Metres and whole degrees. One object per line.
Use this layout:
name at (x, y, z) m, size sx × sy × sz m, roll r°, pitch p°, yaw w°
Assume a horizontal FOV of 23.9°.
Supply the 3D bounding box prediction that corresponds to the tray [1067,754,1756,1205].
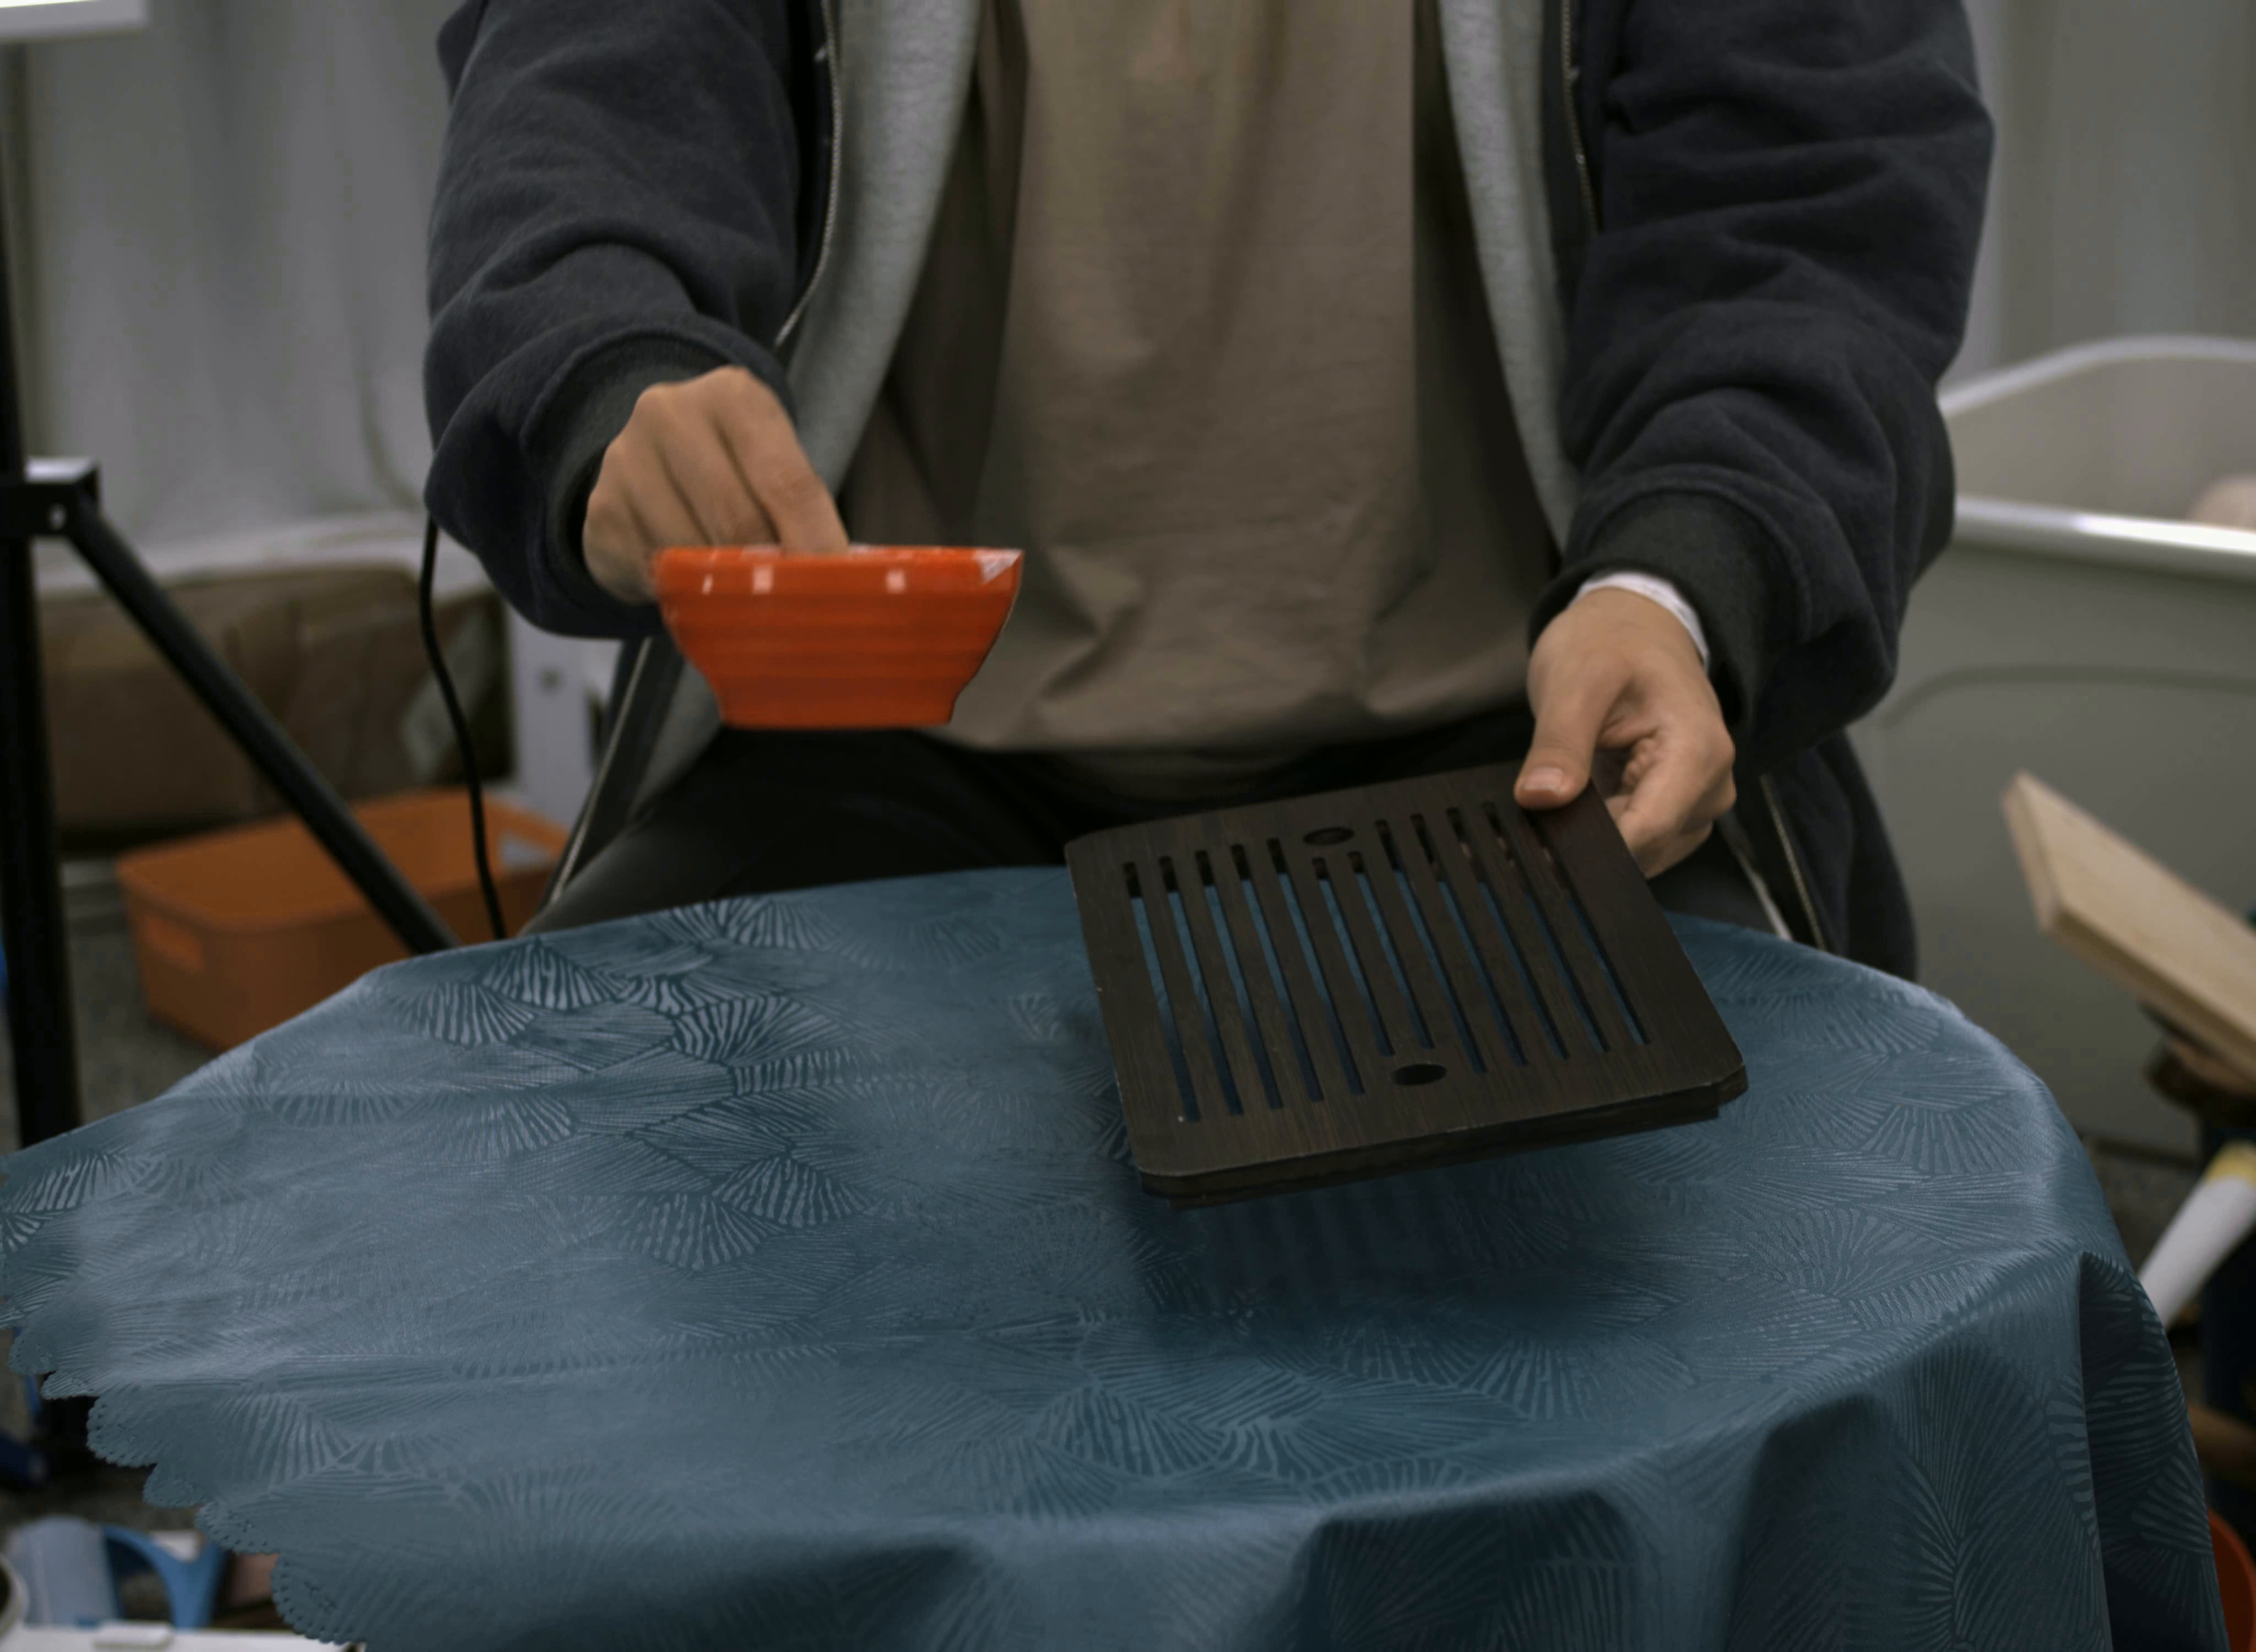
tray at (0.076, 0.042, 1.574) m, size 0.169 × 0.018 × 0.308 m, roll -10°, pitch 18°, yaw -1°

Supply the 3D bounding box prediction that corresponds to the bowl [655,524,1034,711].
bowl at (-0.083, -0.061, 1.558) m, size 0.118 × 0.051 × 0.119 m, roll 0°, pitch 5°, yaw -1°
